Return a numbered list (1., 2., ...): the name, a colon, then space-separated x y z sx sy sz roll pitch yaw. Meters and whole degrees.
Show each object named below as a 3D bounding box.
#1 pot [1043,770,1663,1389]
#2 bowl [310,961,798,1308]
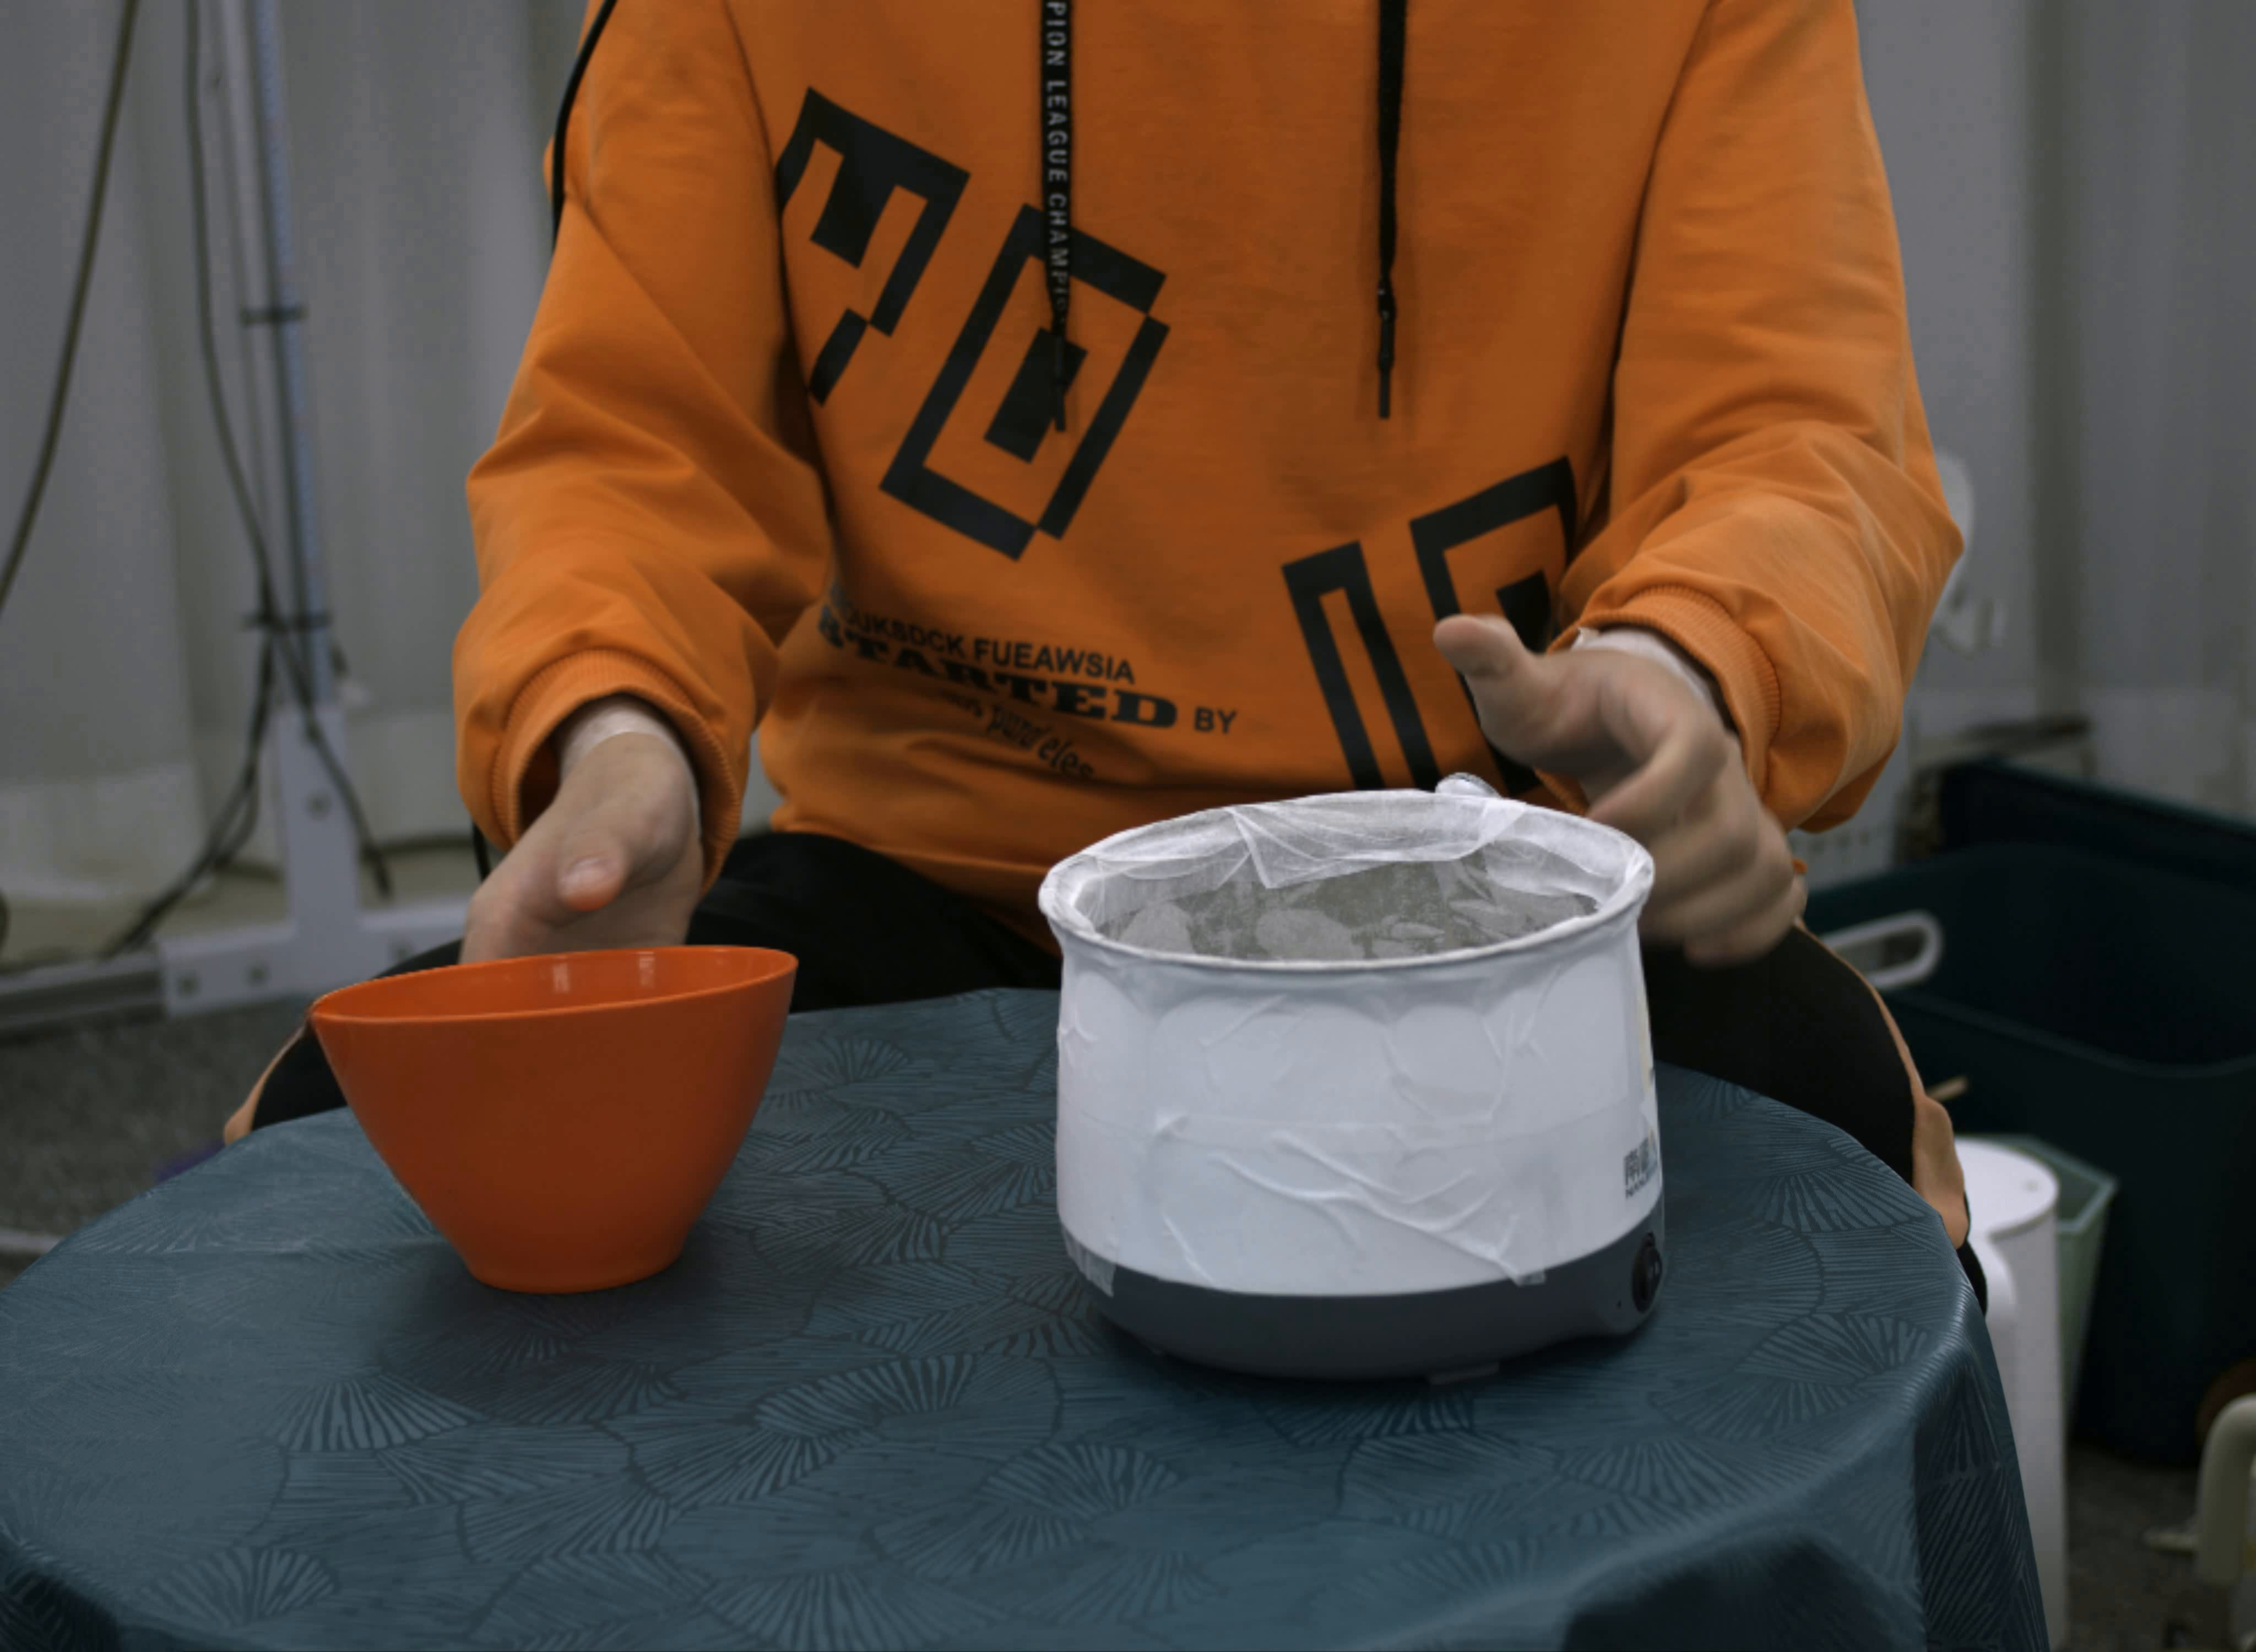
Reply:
1. pot: 0.076 0.068 1.610 0.179 0.136 0.234 3 16 21
2. bowl: -0.171 0.090 1.658 0.147 0.104 0.149 -3 13 0
